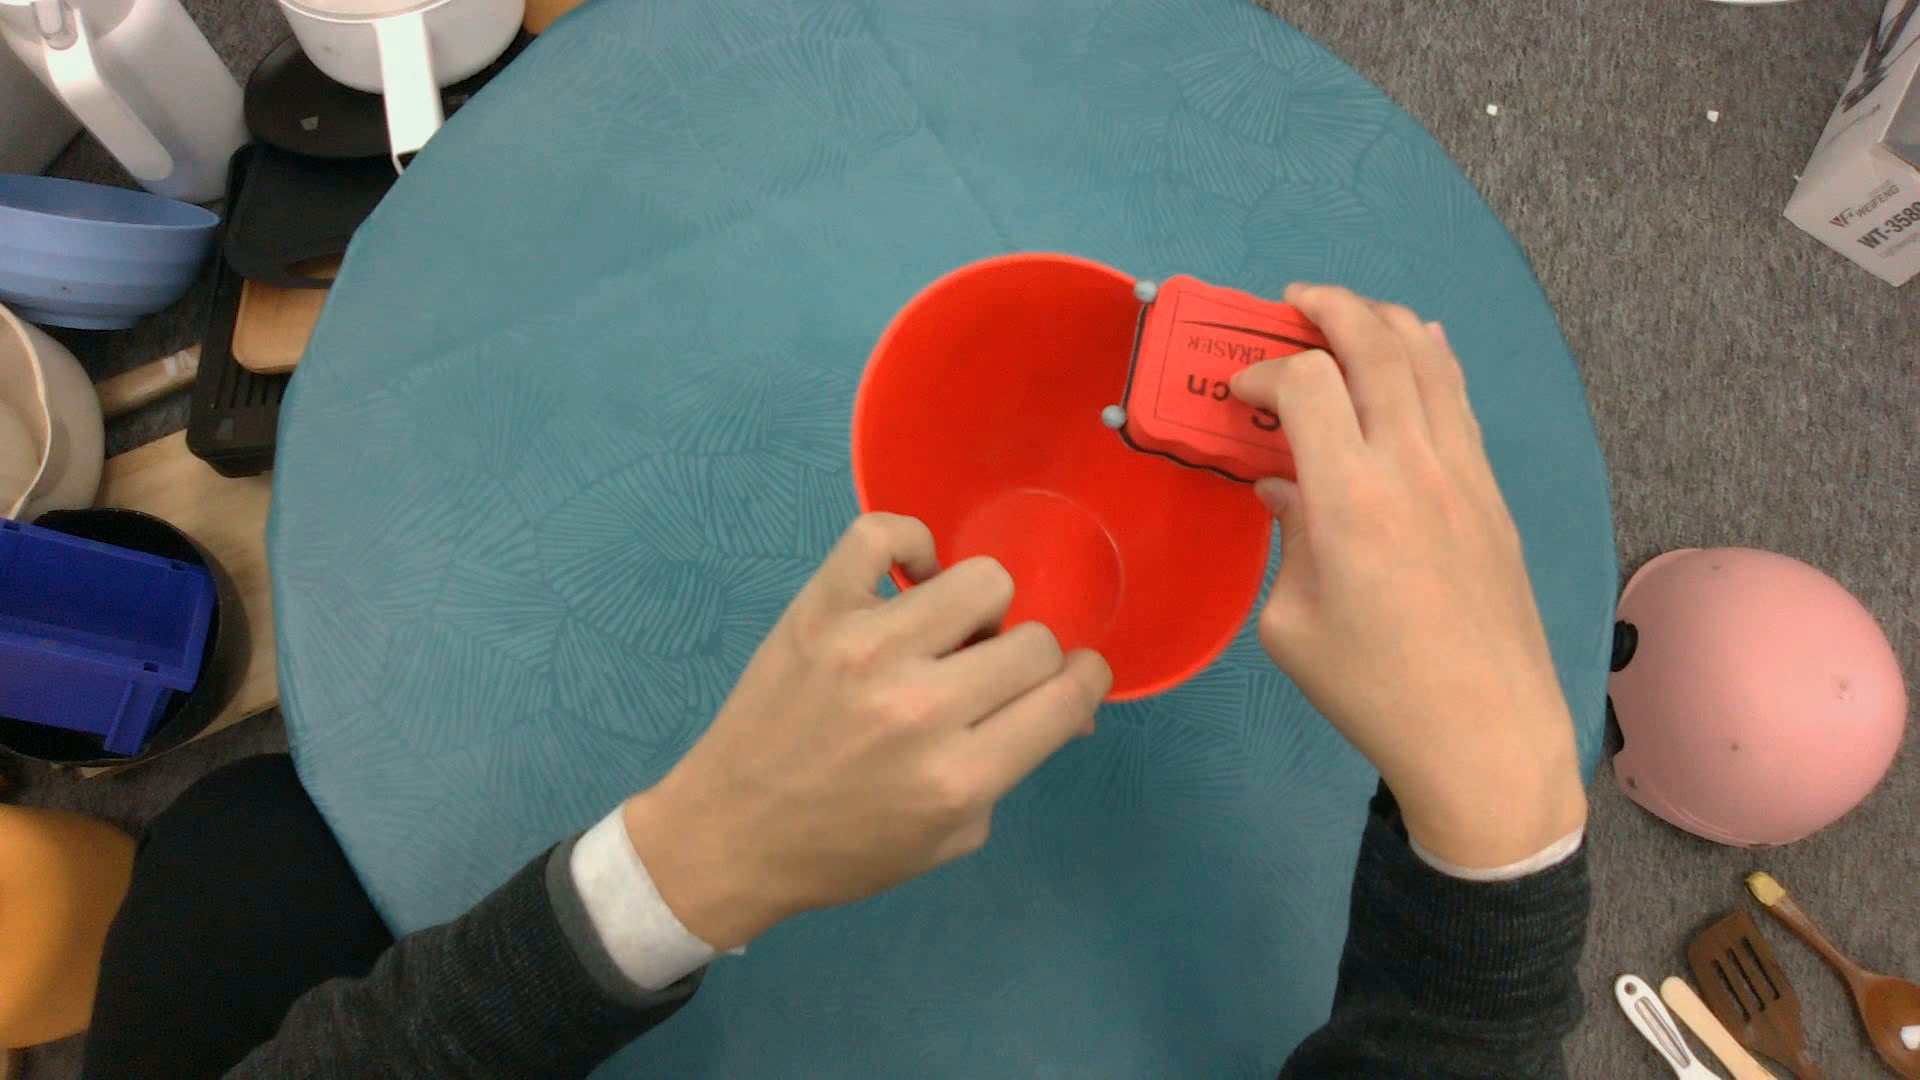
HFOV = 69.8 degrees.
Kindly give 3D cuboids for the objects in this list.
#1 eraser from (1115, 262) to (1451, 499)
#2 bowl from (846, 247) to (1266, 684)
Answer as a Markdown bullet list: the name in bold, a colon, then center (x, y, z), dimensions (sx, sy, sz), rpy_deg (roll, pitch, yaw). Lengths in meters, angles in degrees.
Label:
- **eraser**: center (0.109, -0.053, 0.463), dimensions (0.108, 0.023, 0.059), rpy_deg (14, 77, -8)
- **bowl**: center (0.027, -0.014, 0.485), dimensions (0.148, 0.104, 0.148), rpy_deg (5, 69, -12)
